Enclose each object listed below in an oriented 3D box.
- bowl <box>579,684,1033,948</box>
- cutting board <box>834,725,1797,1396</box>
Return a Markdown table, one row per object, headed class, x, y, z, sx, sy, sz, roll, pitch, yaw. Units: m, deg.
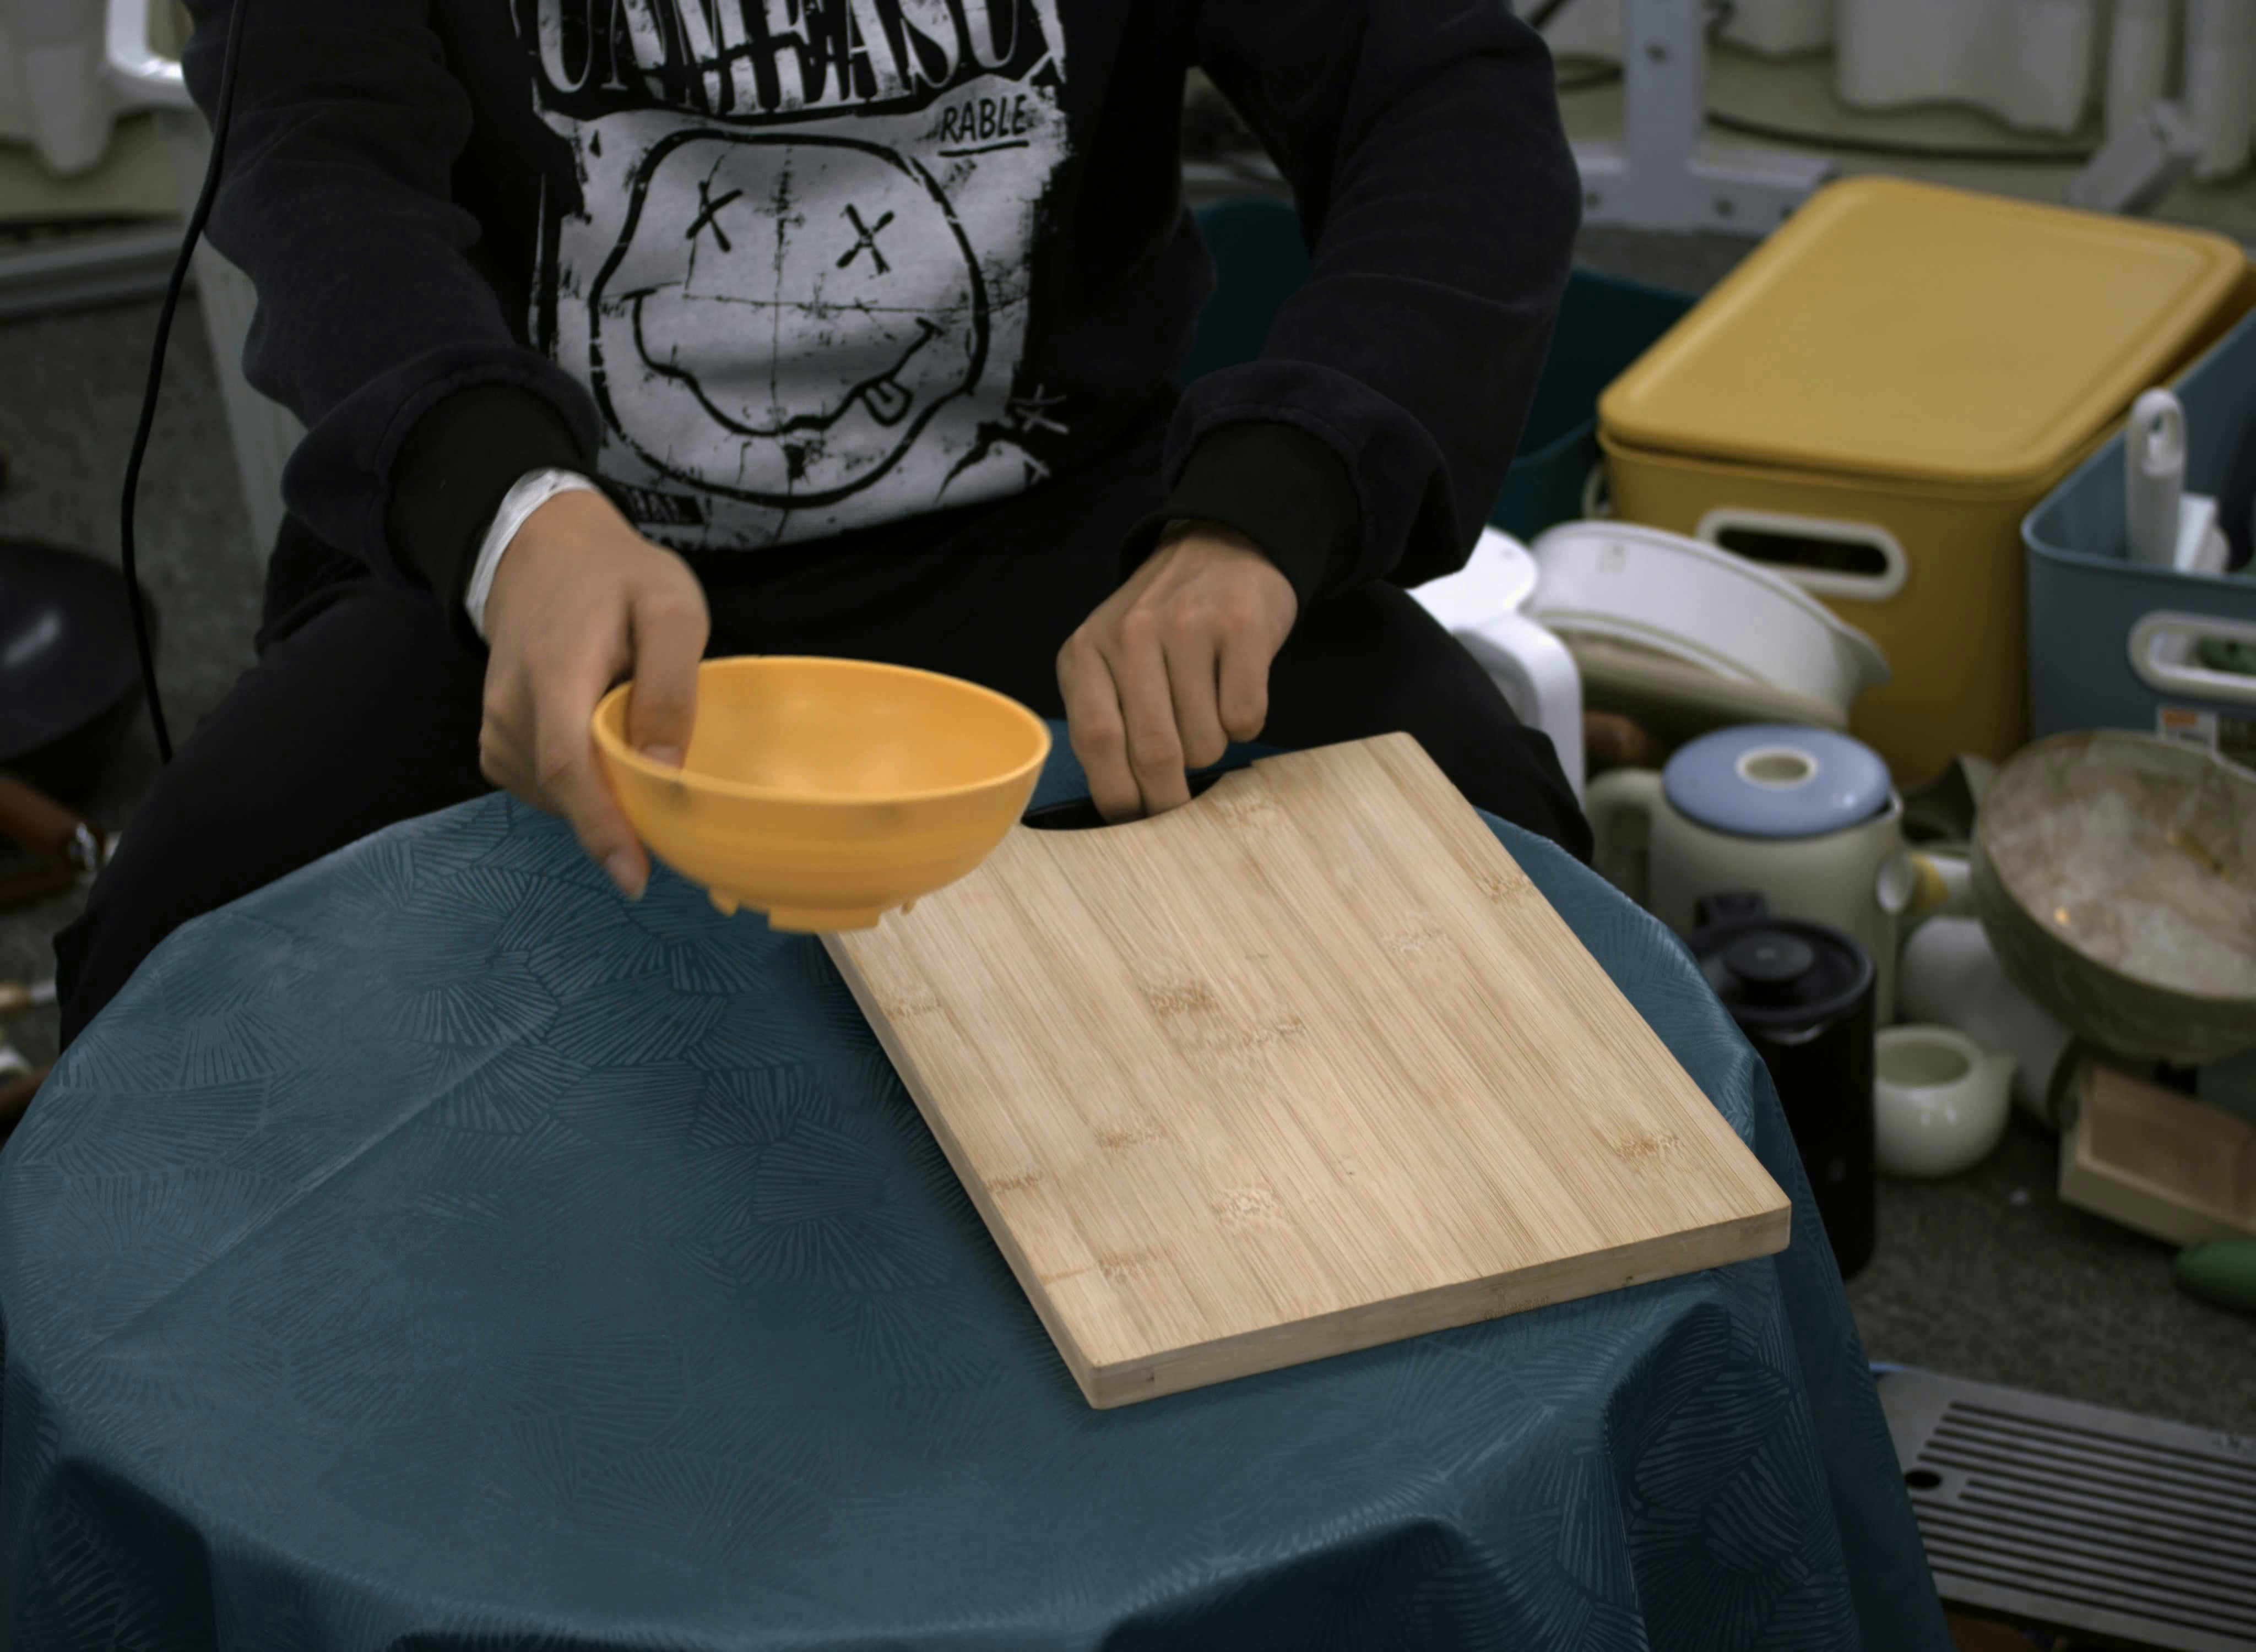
| class | x | y | z | sx | sy | sz | roll | pitch | yaw |
| --- | --- | --- | --- | --- | --- | --- | --- | --- | --- |
| bowl | -0.103 | 0.001 | 1.782 | 0.144 | 0.060 | 0.146 | 3 | 15 | -1 |
| cutting board | 0.048 | 0.073 | 1.920 | 0.251 | 0.023 | 0.352 | -11 | 31 | -16 |
